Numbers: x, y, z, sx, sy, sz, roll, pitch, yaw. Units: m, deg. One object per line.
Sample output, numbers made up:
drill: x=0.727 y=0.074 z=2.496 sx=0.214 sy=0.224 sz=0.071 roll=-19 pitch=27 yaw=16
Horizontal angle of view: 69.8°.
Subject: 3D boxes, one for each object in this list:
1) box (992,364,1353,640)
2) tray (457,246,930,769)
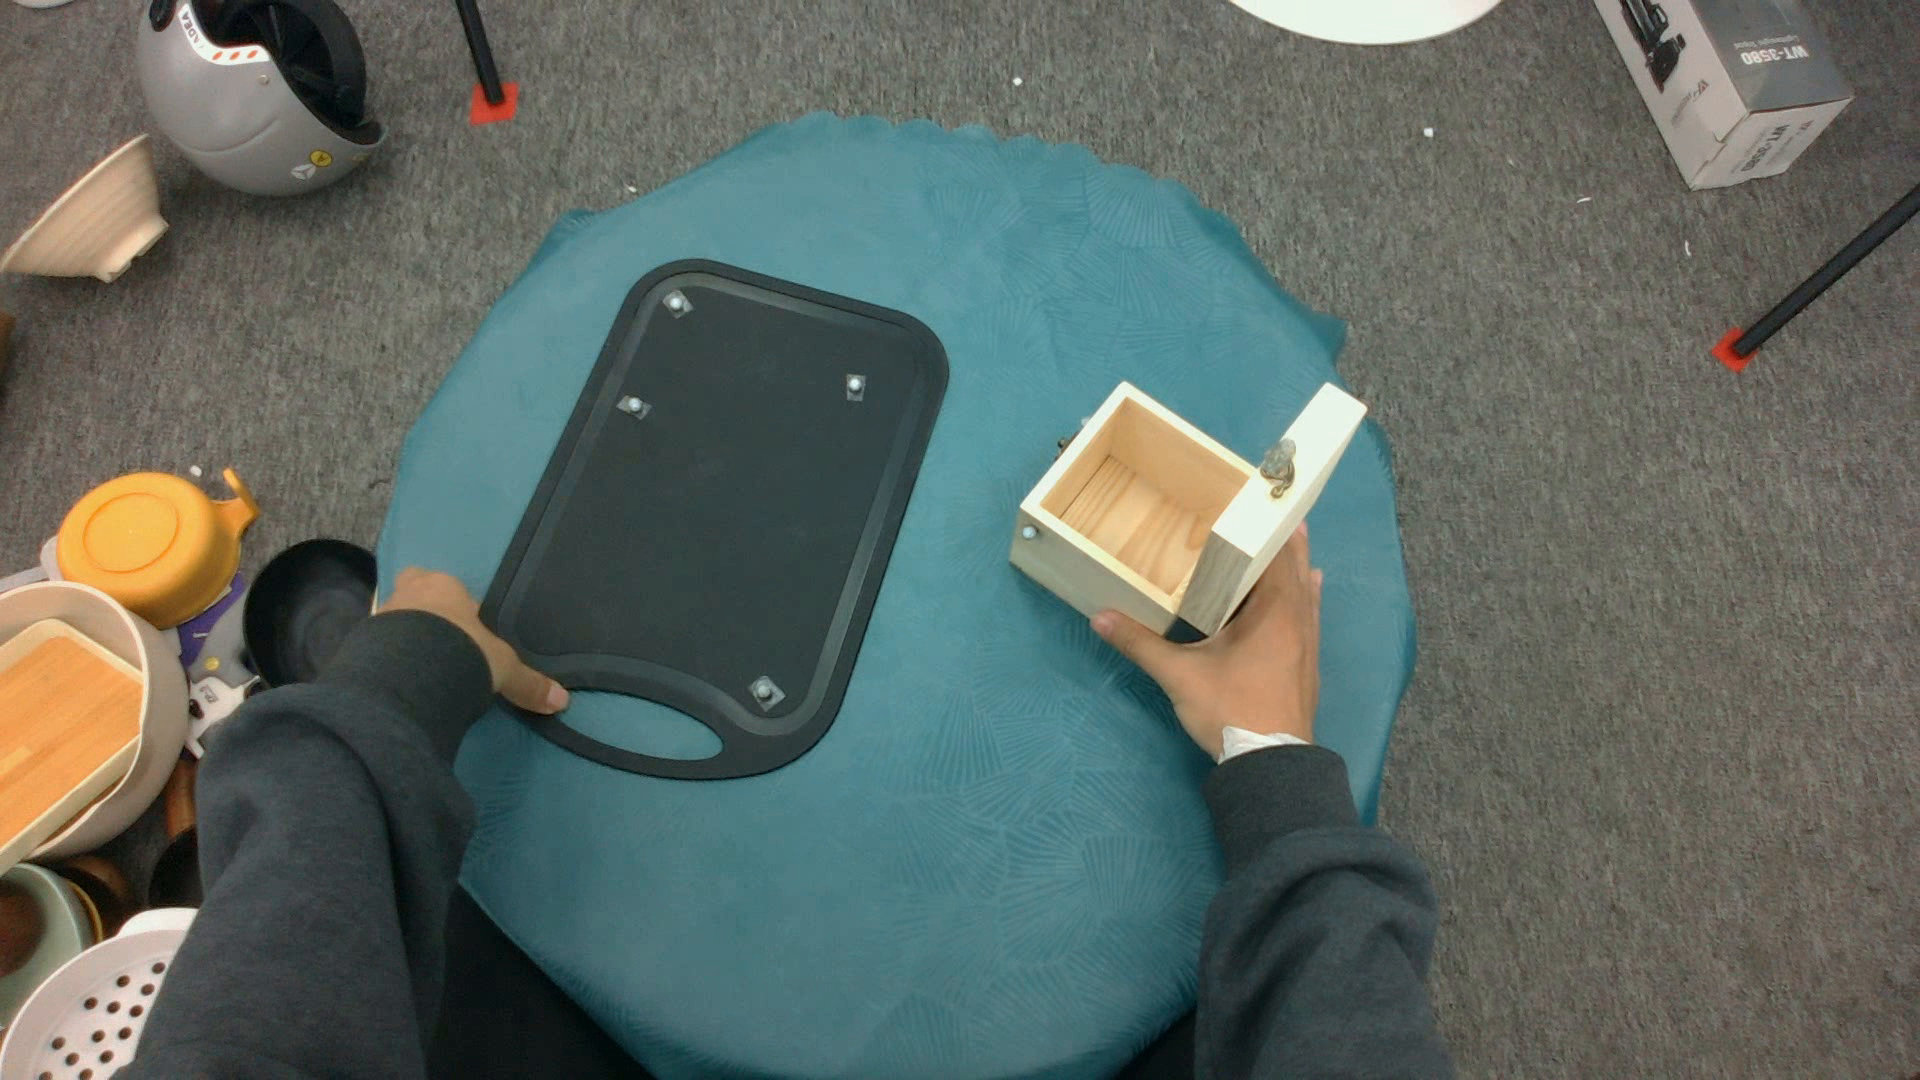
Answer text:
box: x=0.102 y=-0.035 z=0.731 sx=0.134 sy=0.184 sz=0.103 roll=35 pitch=69 yaw=9
tray: x=-0.151 y=-0.026 z=0.806 sx=0.211 sy=0.010 sz=0.326 roll=16 pitch=66 yaw=2
